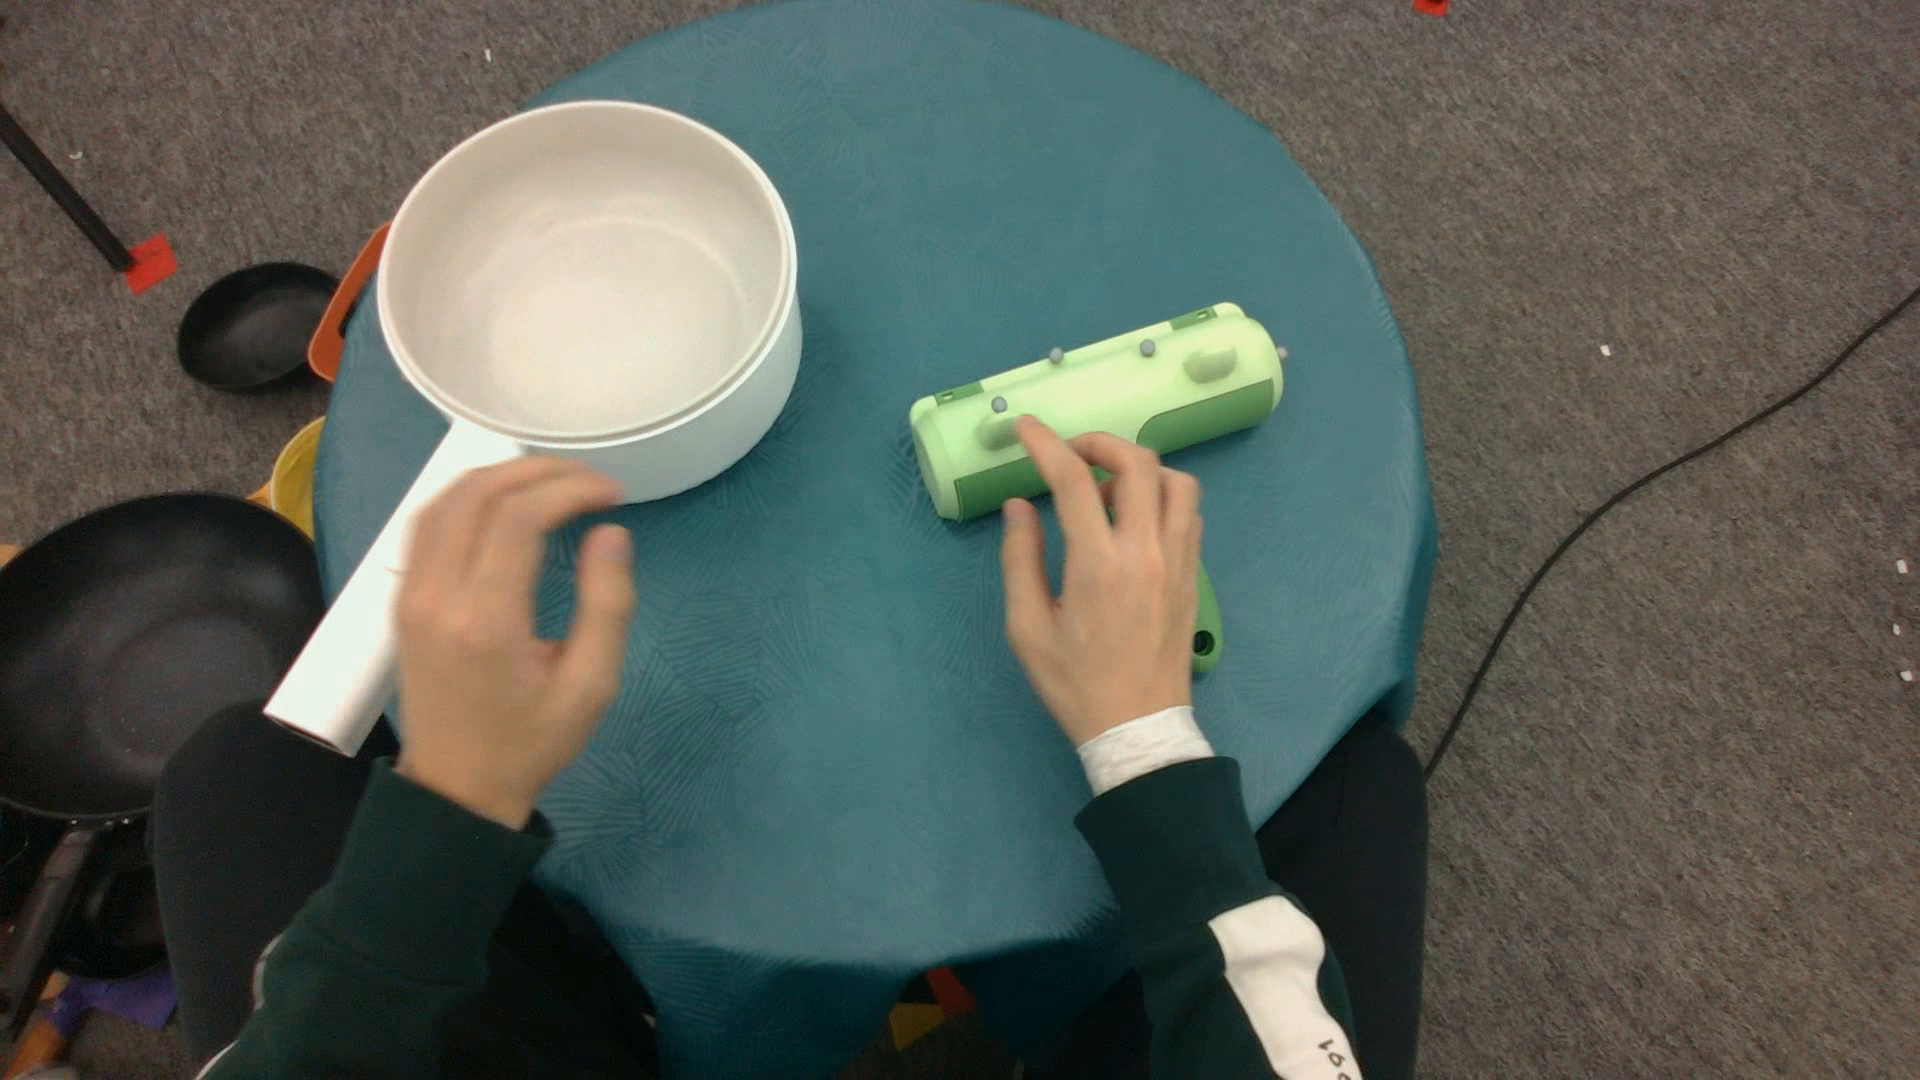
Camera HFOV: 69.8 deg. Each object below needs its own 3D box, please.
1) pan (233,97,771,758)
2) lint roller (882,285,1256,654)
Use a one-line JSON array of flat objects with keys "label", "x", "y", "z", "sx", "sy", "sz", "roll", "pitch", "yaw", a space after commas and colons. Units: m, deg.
[{"label": "pan", "x": -0.226, "y": -0.053, "z": 0.686, "sx": 0.201, "sy": 0.101, "sz": 0.356, "roll": 21, "pitch": 68, "yaw": 6}, {"label": "lint roller", "x": 0.080, "y": -0.034, "z": 0.700, "sx": 0.199, "sy": 0.082, "sz": 0.184, "roll": -19, "pitch": 64, "yaw": -10}]
